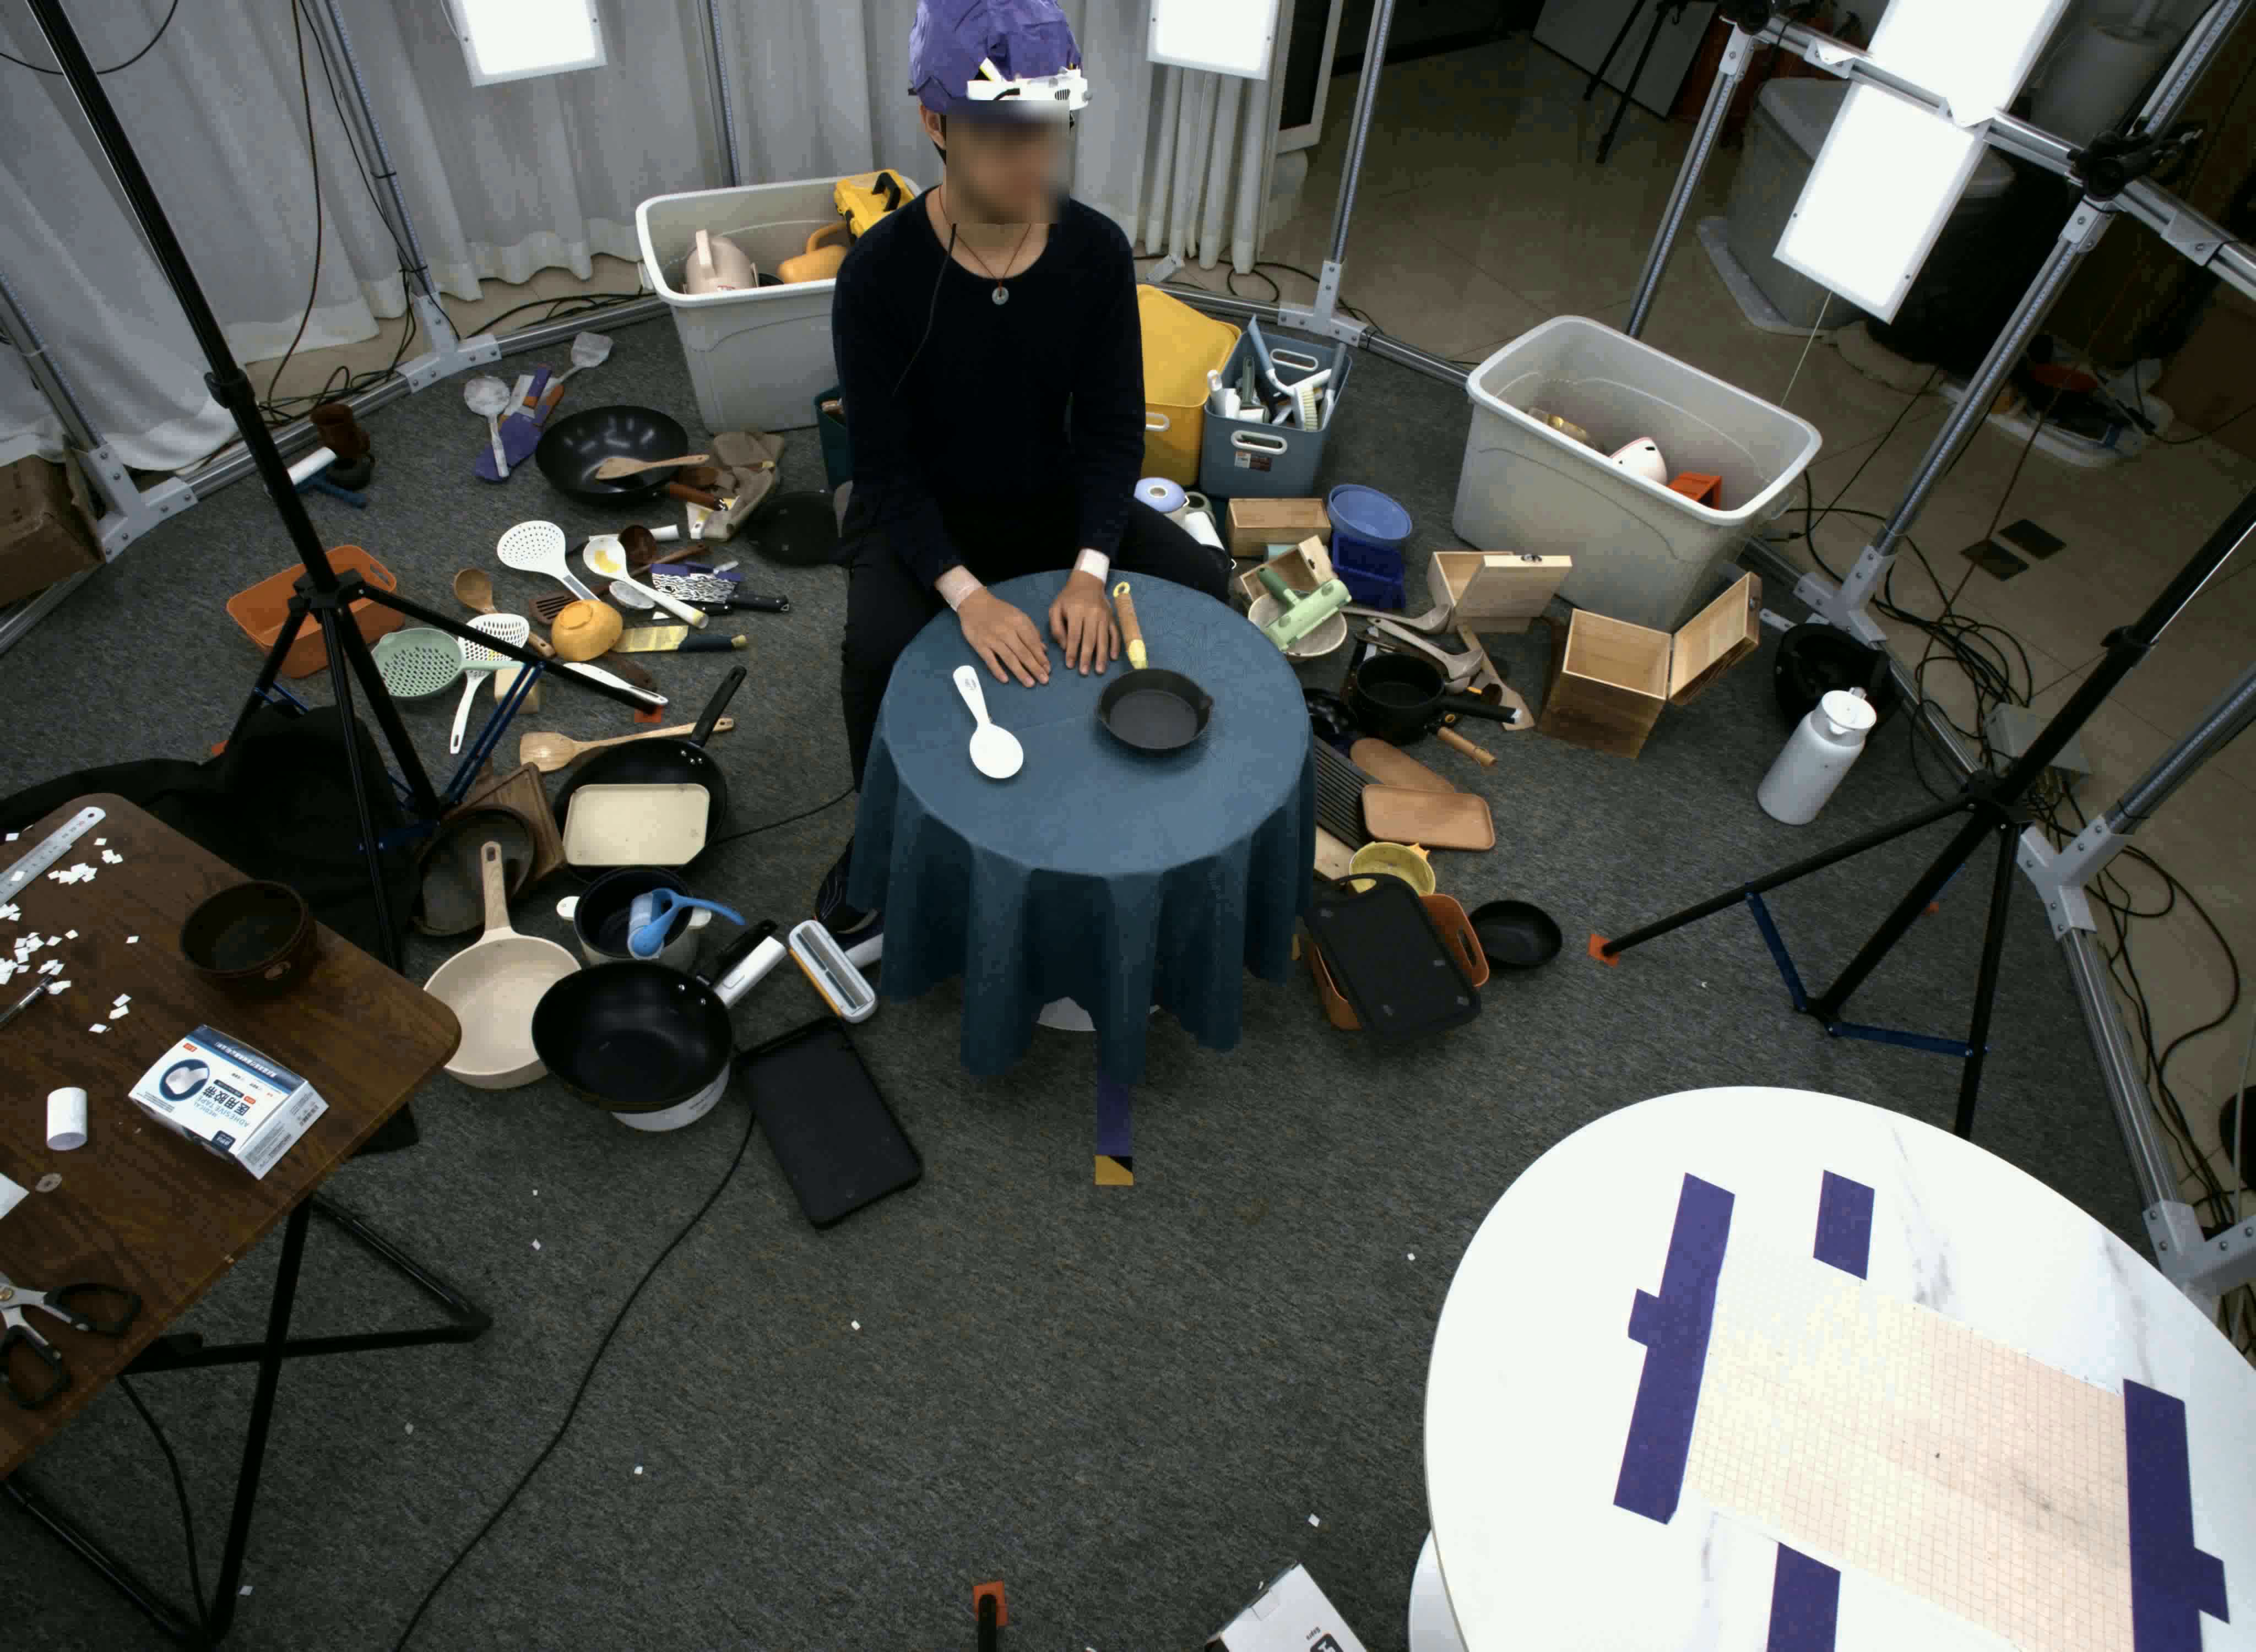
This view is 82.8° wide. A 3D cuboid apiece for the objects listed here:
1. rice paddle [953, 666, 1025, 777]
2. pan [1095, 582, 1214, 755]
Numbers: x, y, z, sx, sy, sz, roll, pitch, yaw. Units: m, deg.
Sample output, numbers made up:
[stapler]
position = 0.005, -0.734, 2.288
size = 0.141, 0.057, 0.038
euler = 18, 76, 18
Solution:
[rice paddle]
position = -0.196, -0.143, 1.761
size = 0.069, 0.029, 0.210
euler = -15, 51, -14
[pan]
position = 0.022, -0.226, 1.833
size = 0.169, 0.048, 0.332
euler = -6, 51, -9
